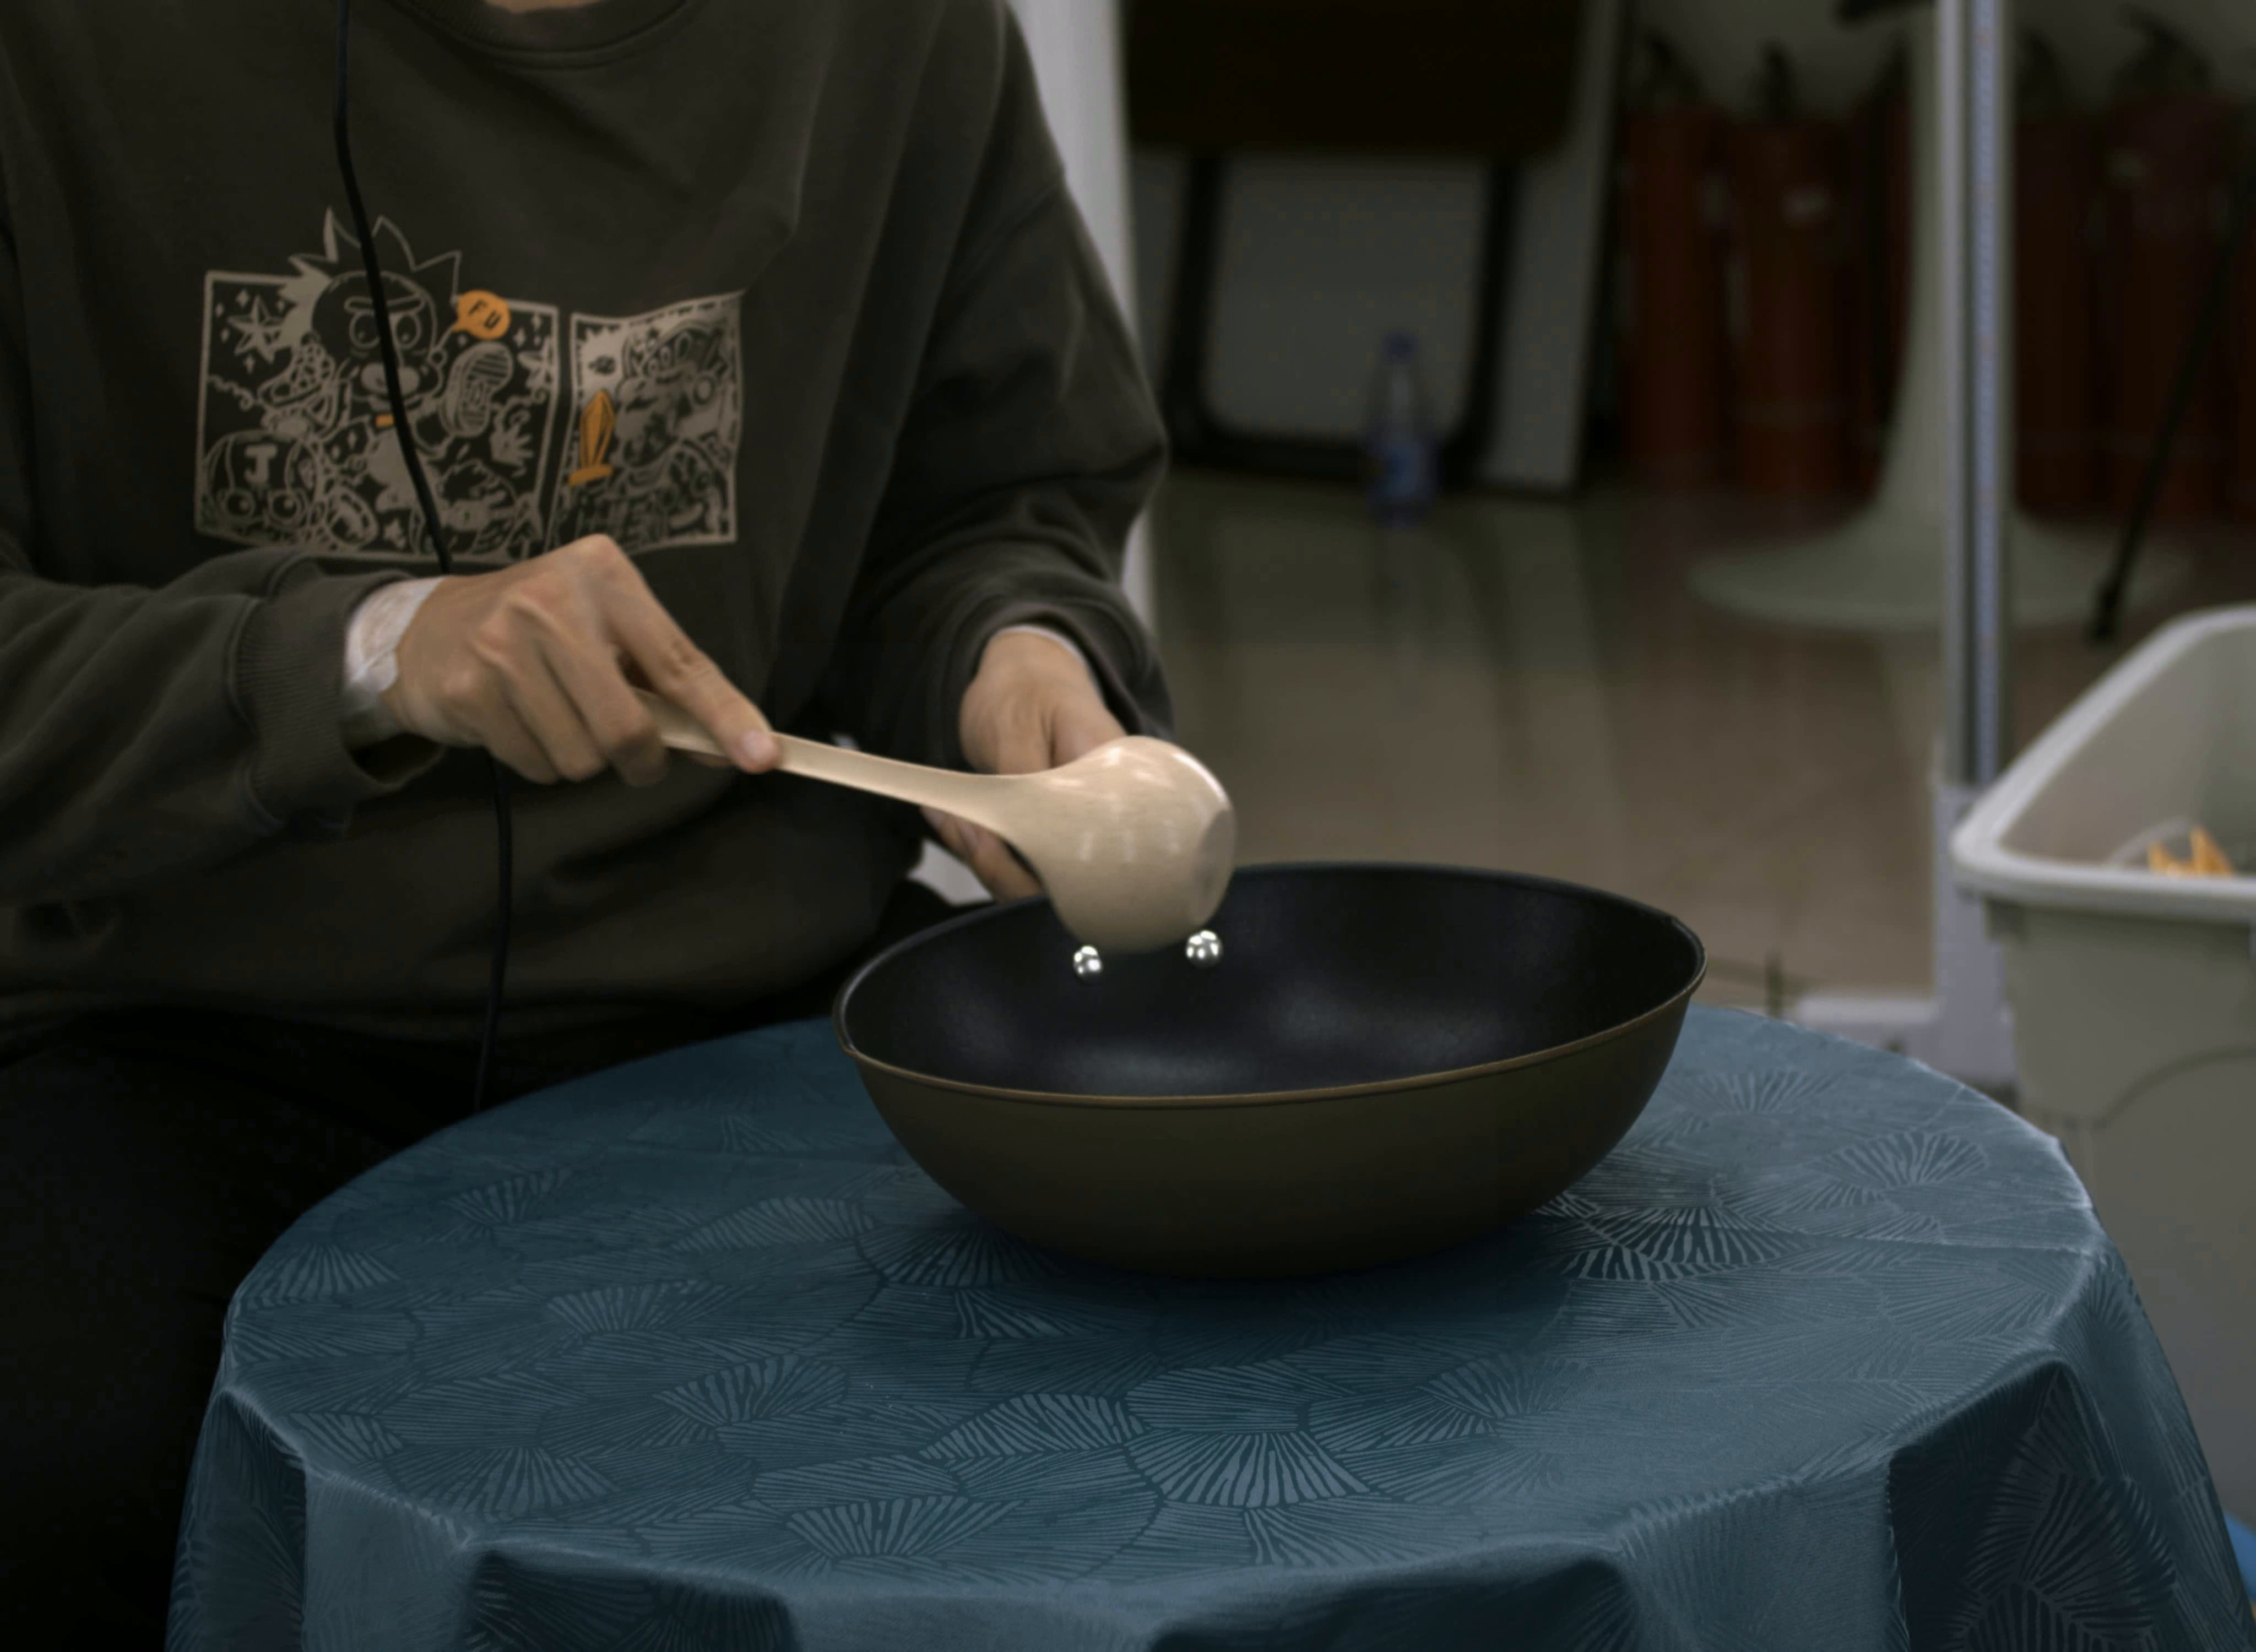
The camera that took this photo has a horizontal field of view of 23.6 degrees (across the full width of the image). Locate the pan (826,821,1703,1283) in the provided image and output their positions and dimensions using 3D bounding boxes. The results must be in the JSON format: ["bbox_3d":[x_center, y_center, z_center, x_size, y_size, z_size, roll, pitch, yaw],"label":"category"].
[{"bbox_3d":[0.018,0.069,1.816,0.282,0.088,0.467,-8,12,-16],"label":"pan"}]

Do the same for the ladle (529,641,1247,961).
[{"bbox_3d":[-0.078,-0.017,1.799,0.255,0.073,0.072,16,-4,26],"label":"ladle"}]
